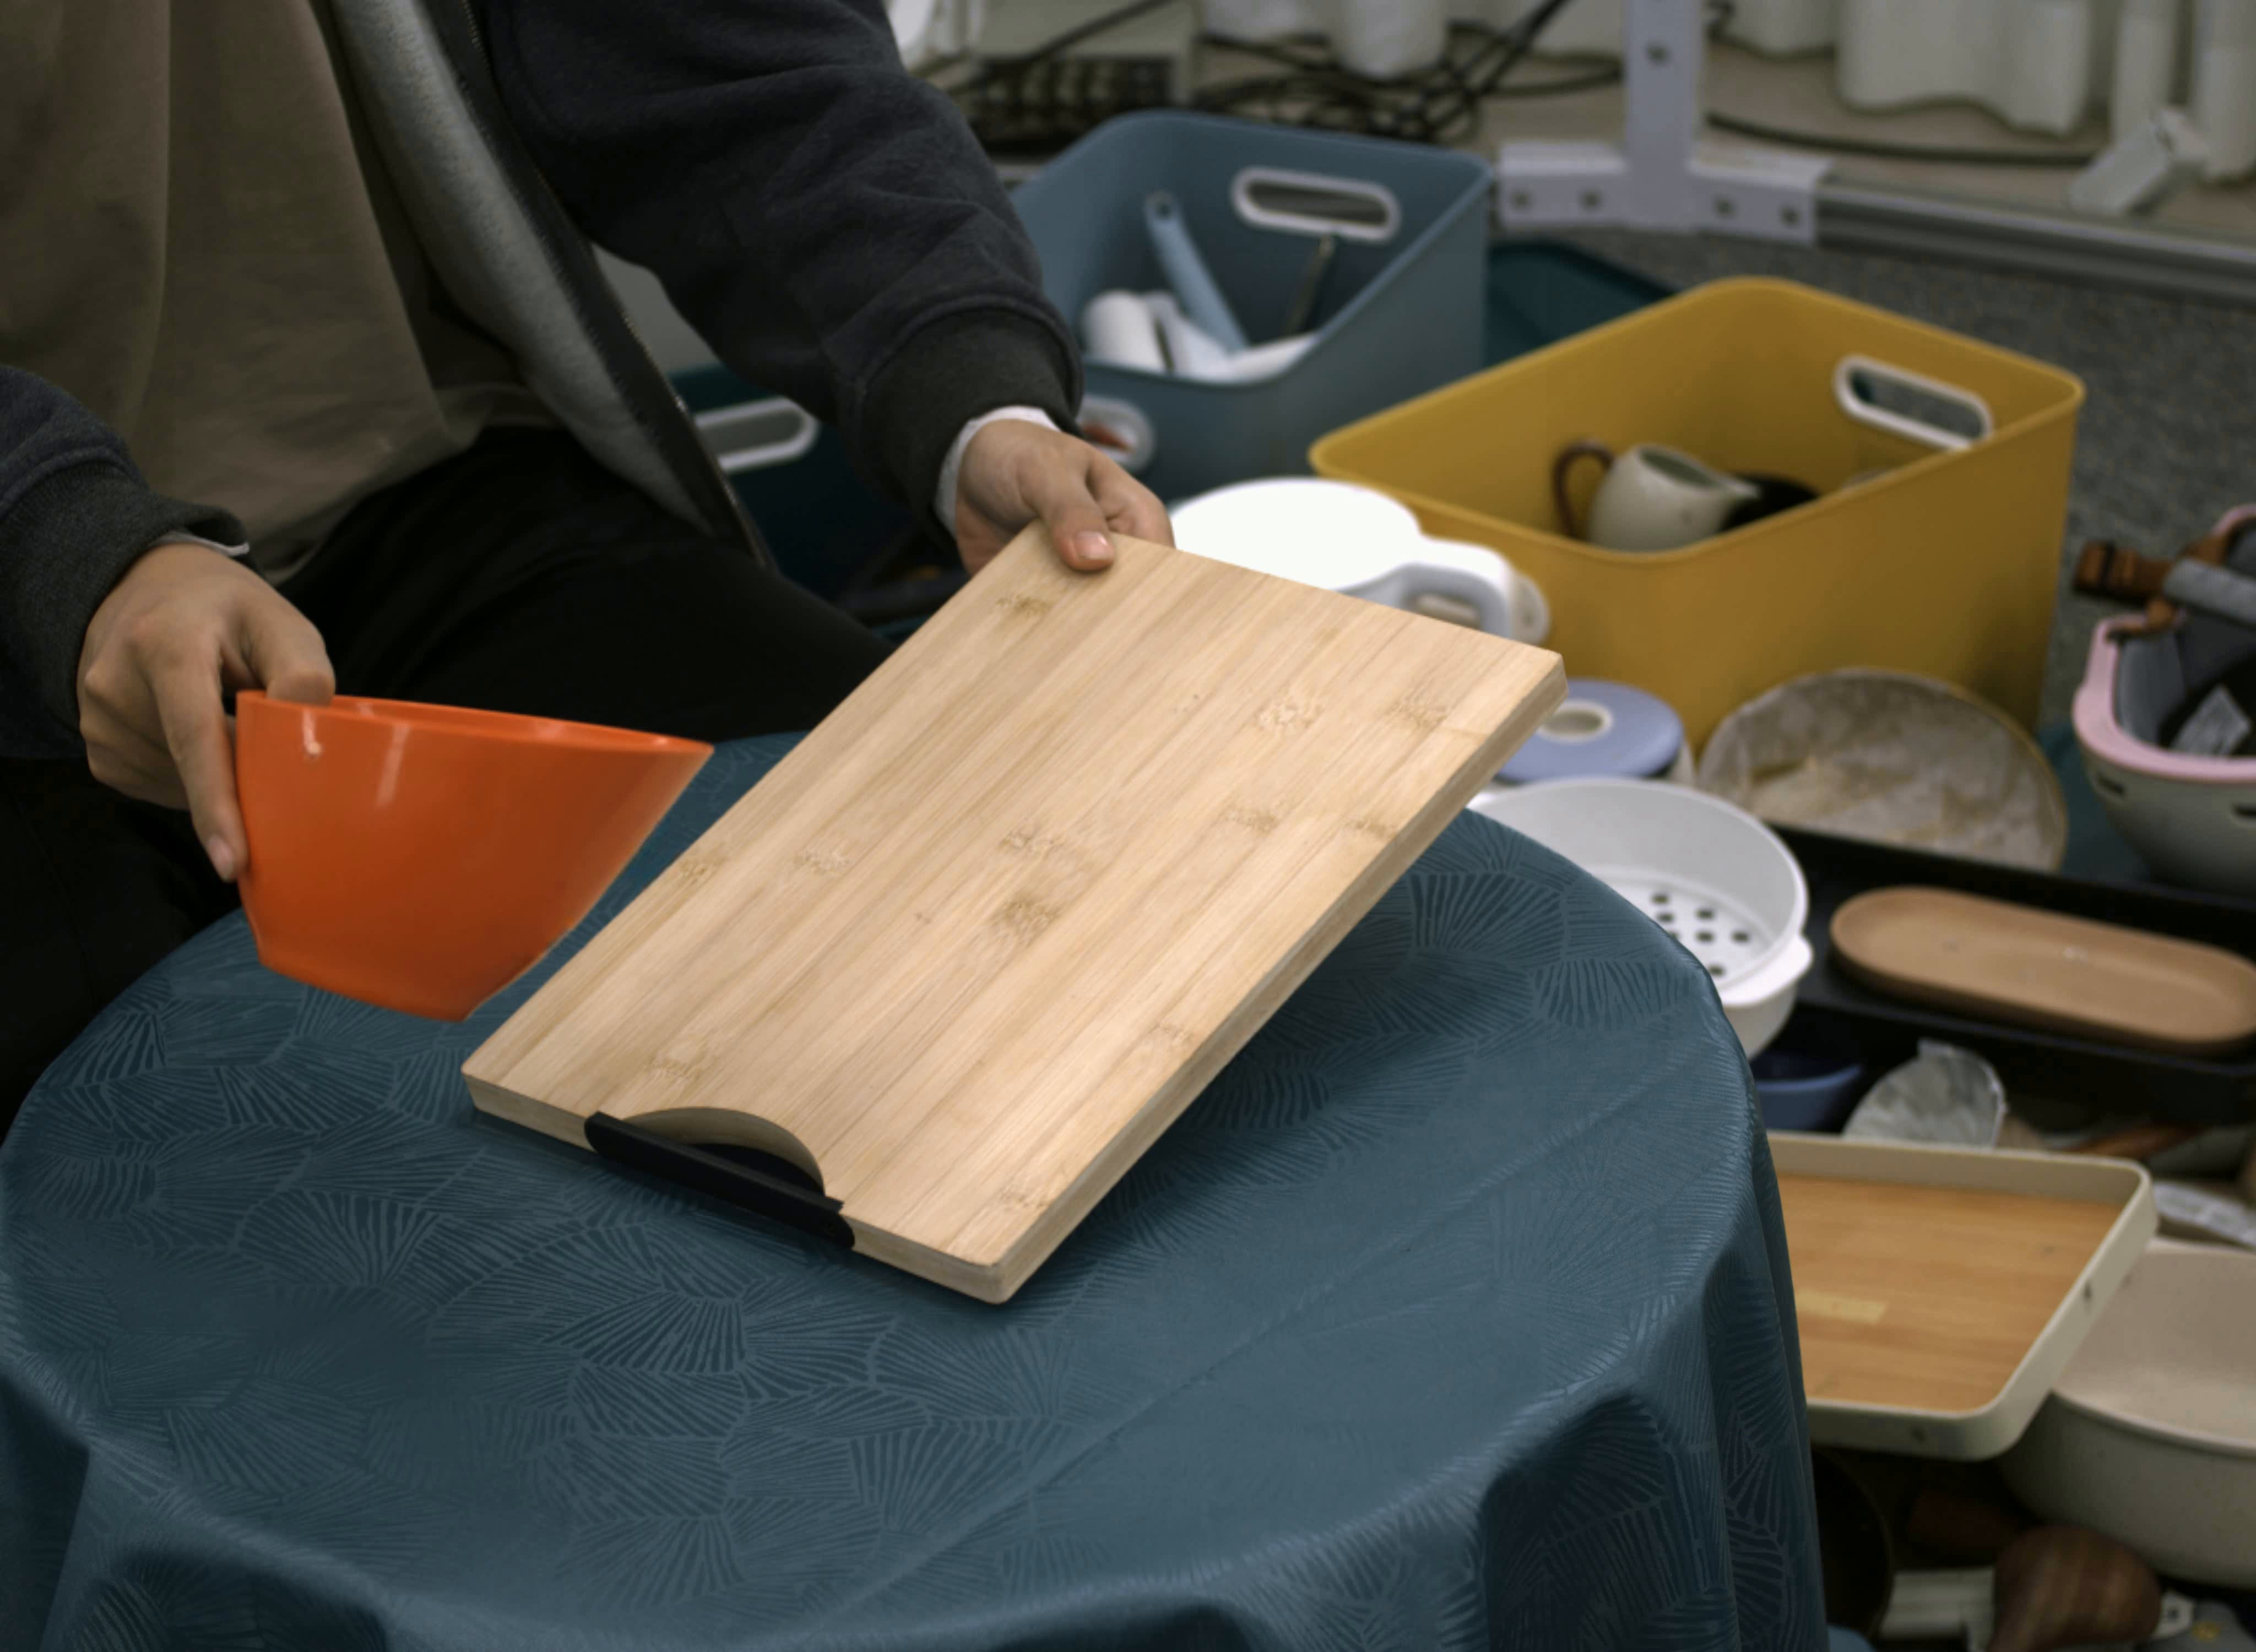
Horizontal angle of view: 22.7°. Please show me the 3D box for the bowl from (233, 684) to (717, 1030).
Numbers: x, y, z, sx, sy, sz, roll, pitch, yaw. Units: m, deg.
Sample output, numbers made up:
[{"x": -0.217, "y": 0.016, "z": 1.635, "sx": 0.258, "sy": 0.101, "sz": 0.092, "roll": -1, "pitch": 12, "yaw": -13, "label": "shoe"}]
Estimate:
[{"x": -0.214, "y": 0.008, "z": 1.755, "sx": 0.147, "sy": 0.105, "sz": 0.148, "roll": 18, "pitch": 3, "yaw": 0, "label": "bowl"}]

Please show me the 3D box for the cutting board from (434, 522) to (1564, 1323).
[{"x": -0.040, "y": 0.023, "z": 1.953, "sx": 0.249, "sy": 0.023, "sz": 0.354, "roll": 16, "pitch": 46, "yaw": 34, "label": "cutting board"}]
